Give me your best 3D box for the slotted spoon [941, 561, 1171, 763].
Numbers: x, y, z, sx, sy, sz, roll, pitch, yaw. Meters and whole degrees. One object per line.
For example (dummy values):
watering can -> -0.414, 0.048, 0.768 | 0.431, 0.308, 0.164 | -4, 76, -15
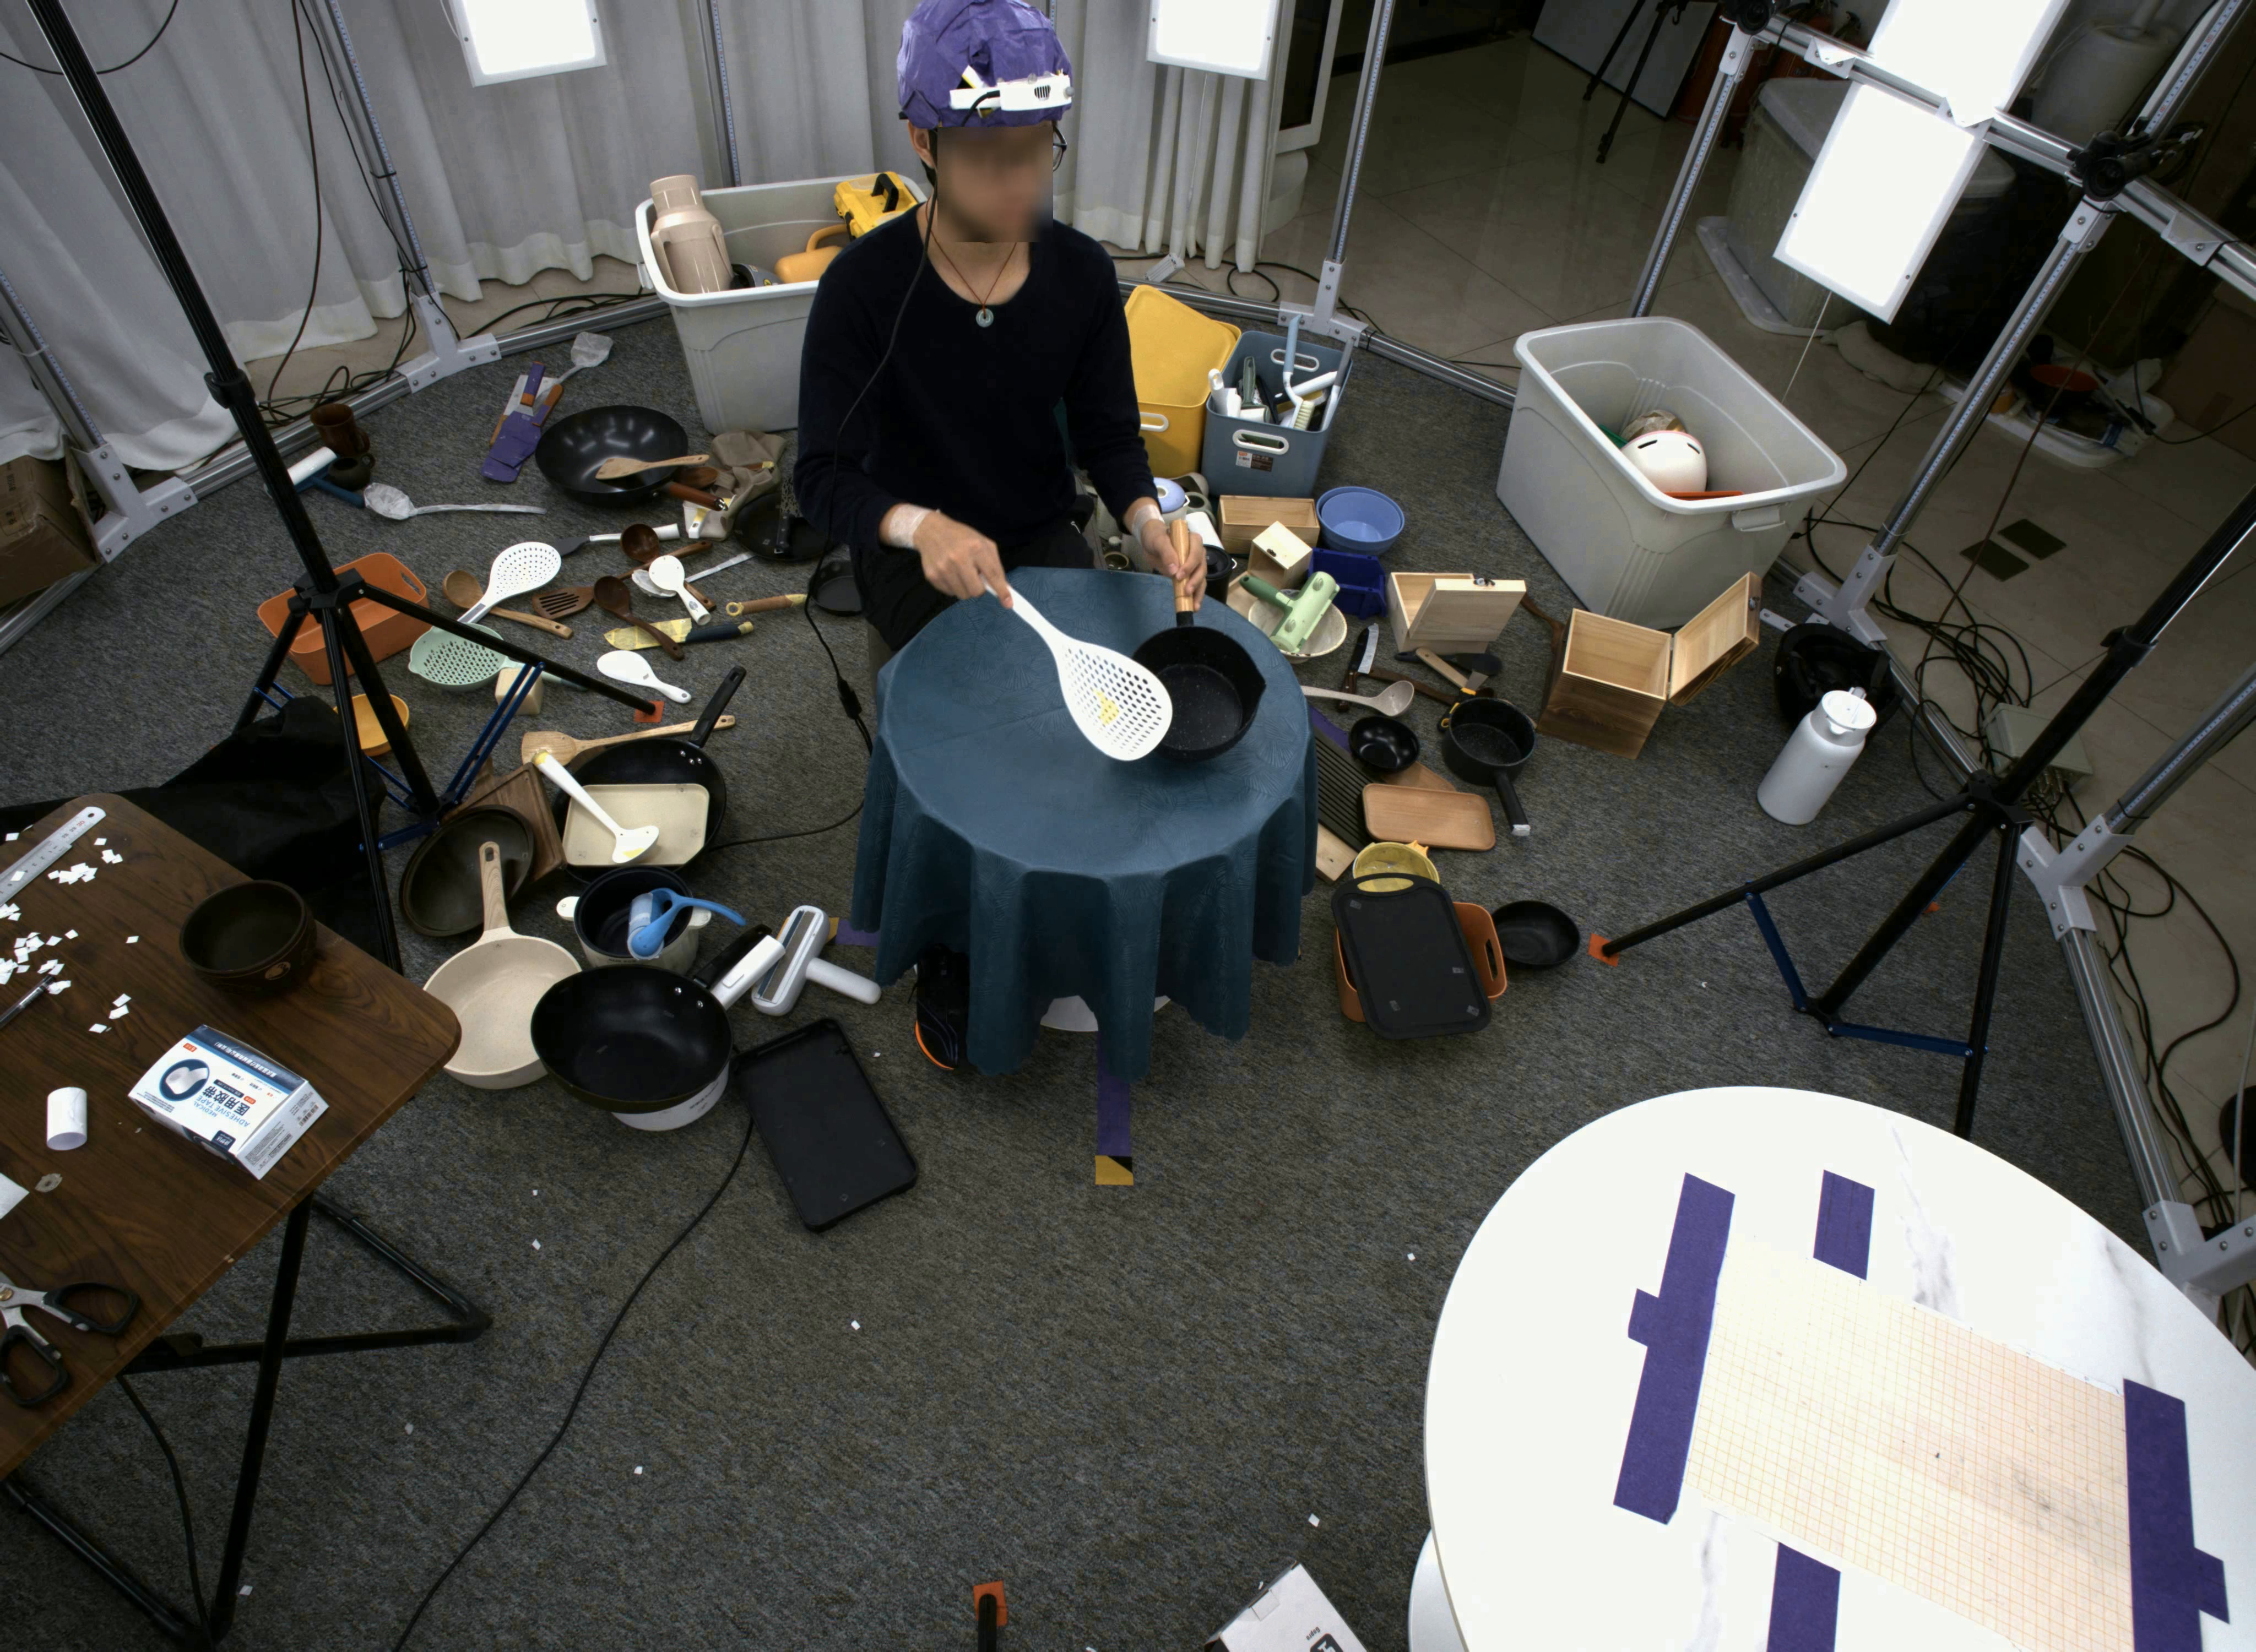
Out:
slotted spoon -> -0.093, -0.218, 1.621 | 0.345, 0.050, 0.138 | 44, 63, -10

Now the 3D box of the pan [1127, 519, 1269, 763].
pan -> 0.079, -0.249, 1.762 | 0.207, 0.106, 0.349 | -5, 69, 0
